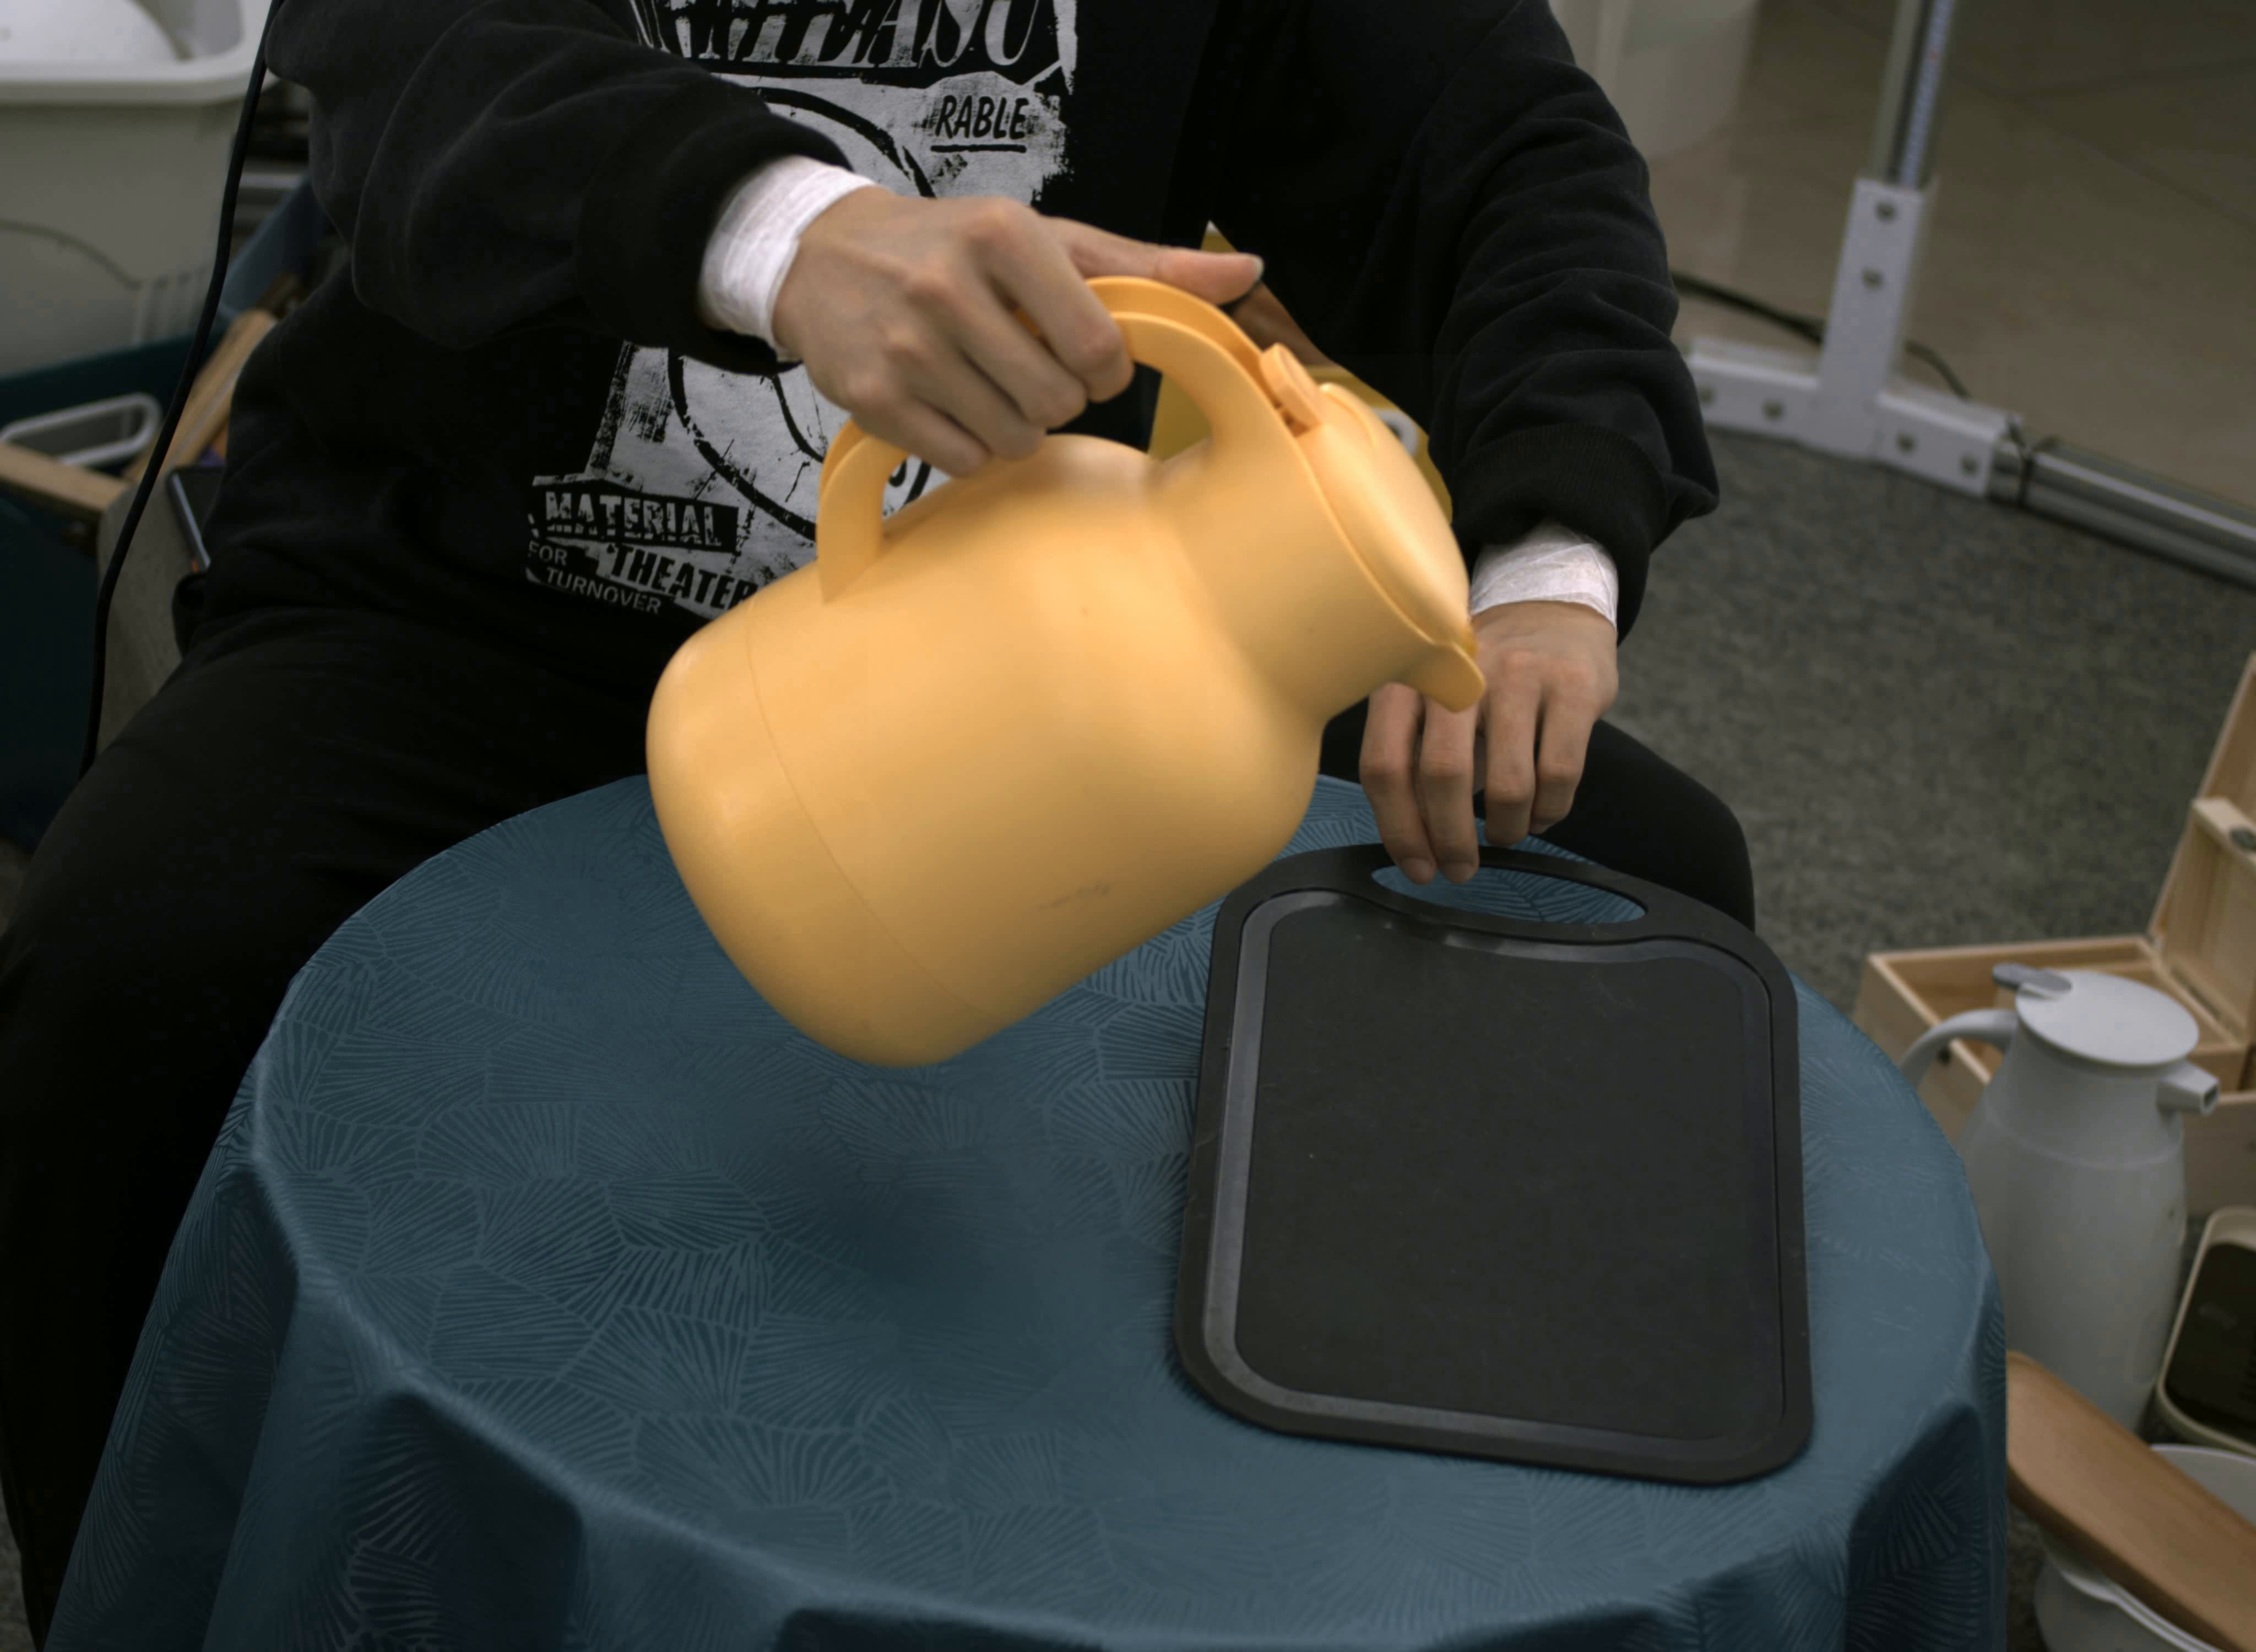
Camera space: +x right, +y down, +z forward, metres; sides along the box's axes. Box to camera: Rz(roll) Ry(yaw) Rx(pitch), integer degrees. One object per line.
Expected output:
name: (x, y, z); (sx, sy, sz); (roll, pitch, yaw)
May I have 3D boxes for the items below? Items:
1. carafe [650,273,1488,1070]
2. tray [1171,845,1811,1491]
carafe: (-0.027, -0.057, 1.702); (0.260, 0.201, 0.164); (-32, 25, 16)
tray: (0.126, 0.104, 1.808); (0.210, 0.010, 0.327); (8, 36, 1)
